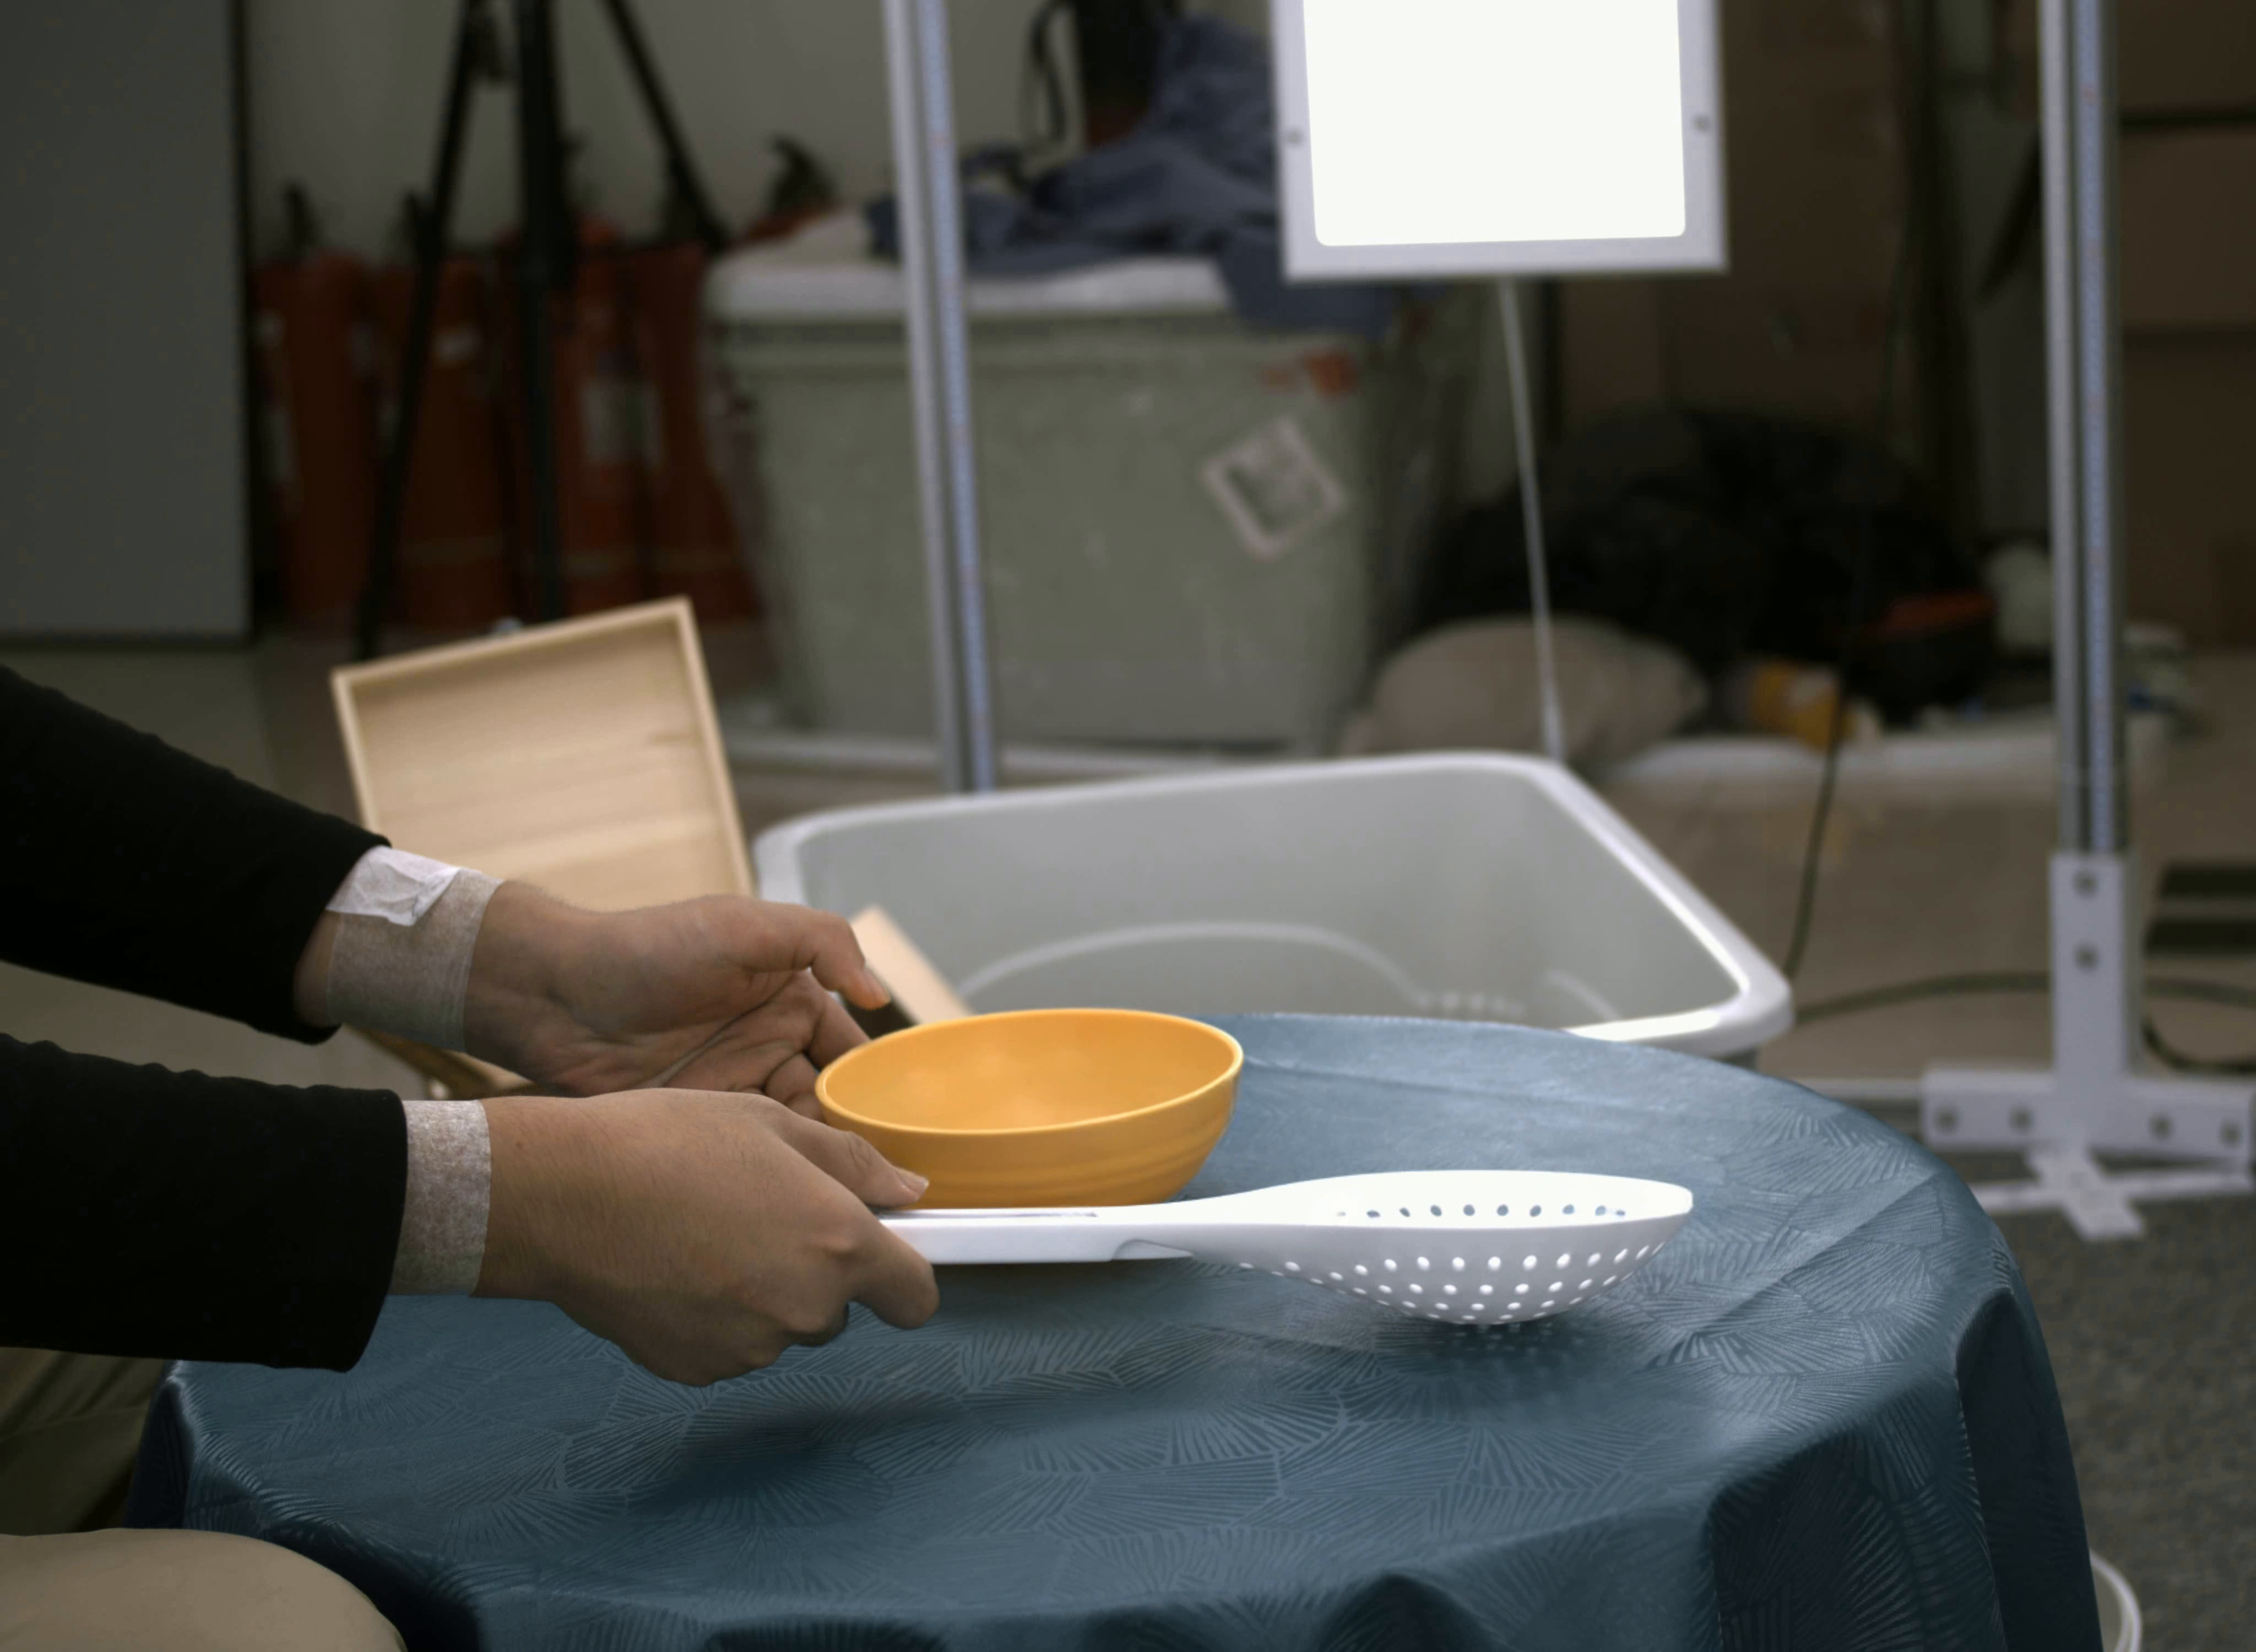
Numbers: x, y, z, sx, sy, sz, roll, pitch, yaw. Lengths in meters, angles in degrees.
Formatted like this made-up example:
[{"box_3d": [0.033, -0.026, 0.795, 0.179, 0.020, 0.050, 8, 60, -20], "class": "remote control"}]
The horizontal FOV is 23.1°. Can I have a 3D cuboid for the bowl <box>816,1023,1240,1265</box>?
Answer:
[{"box_3d": [-0.032, 0.111, 1.857, 0.145, 0.060, 0.145, -4, 12, -1], "class": "bowl"}]

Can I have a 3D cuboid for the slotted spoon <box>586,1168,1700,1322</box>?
[{"box_3d": [0.007, 0.124, 1.712, 0.346, 0.046, 0.137, 4, 2, -9], "class": "slotted spoon"}]
